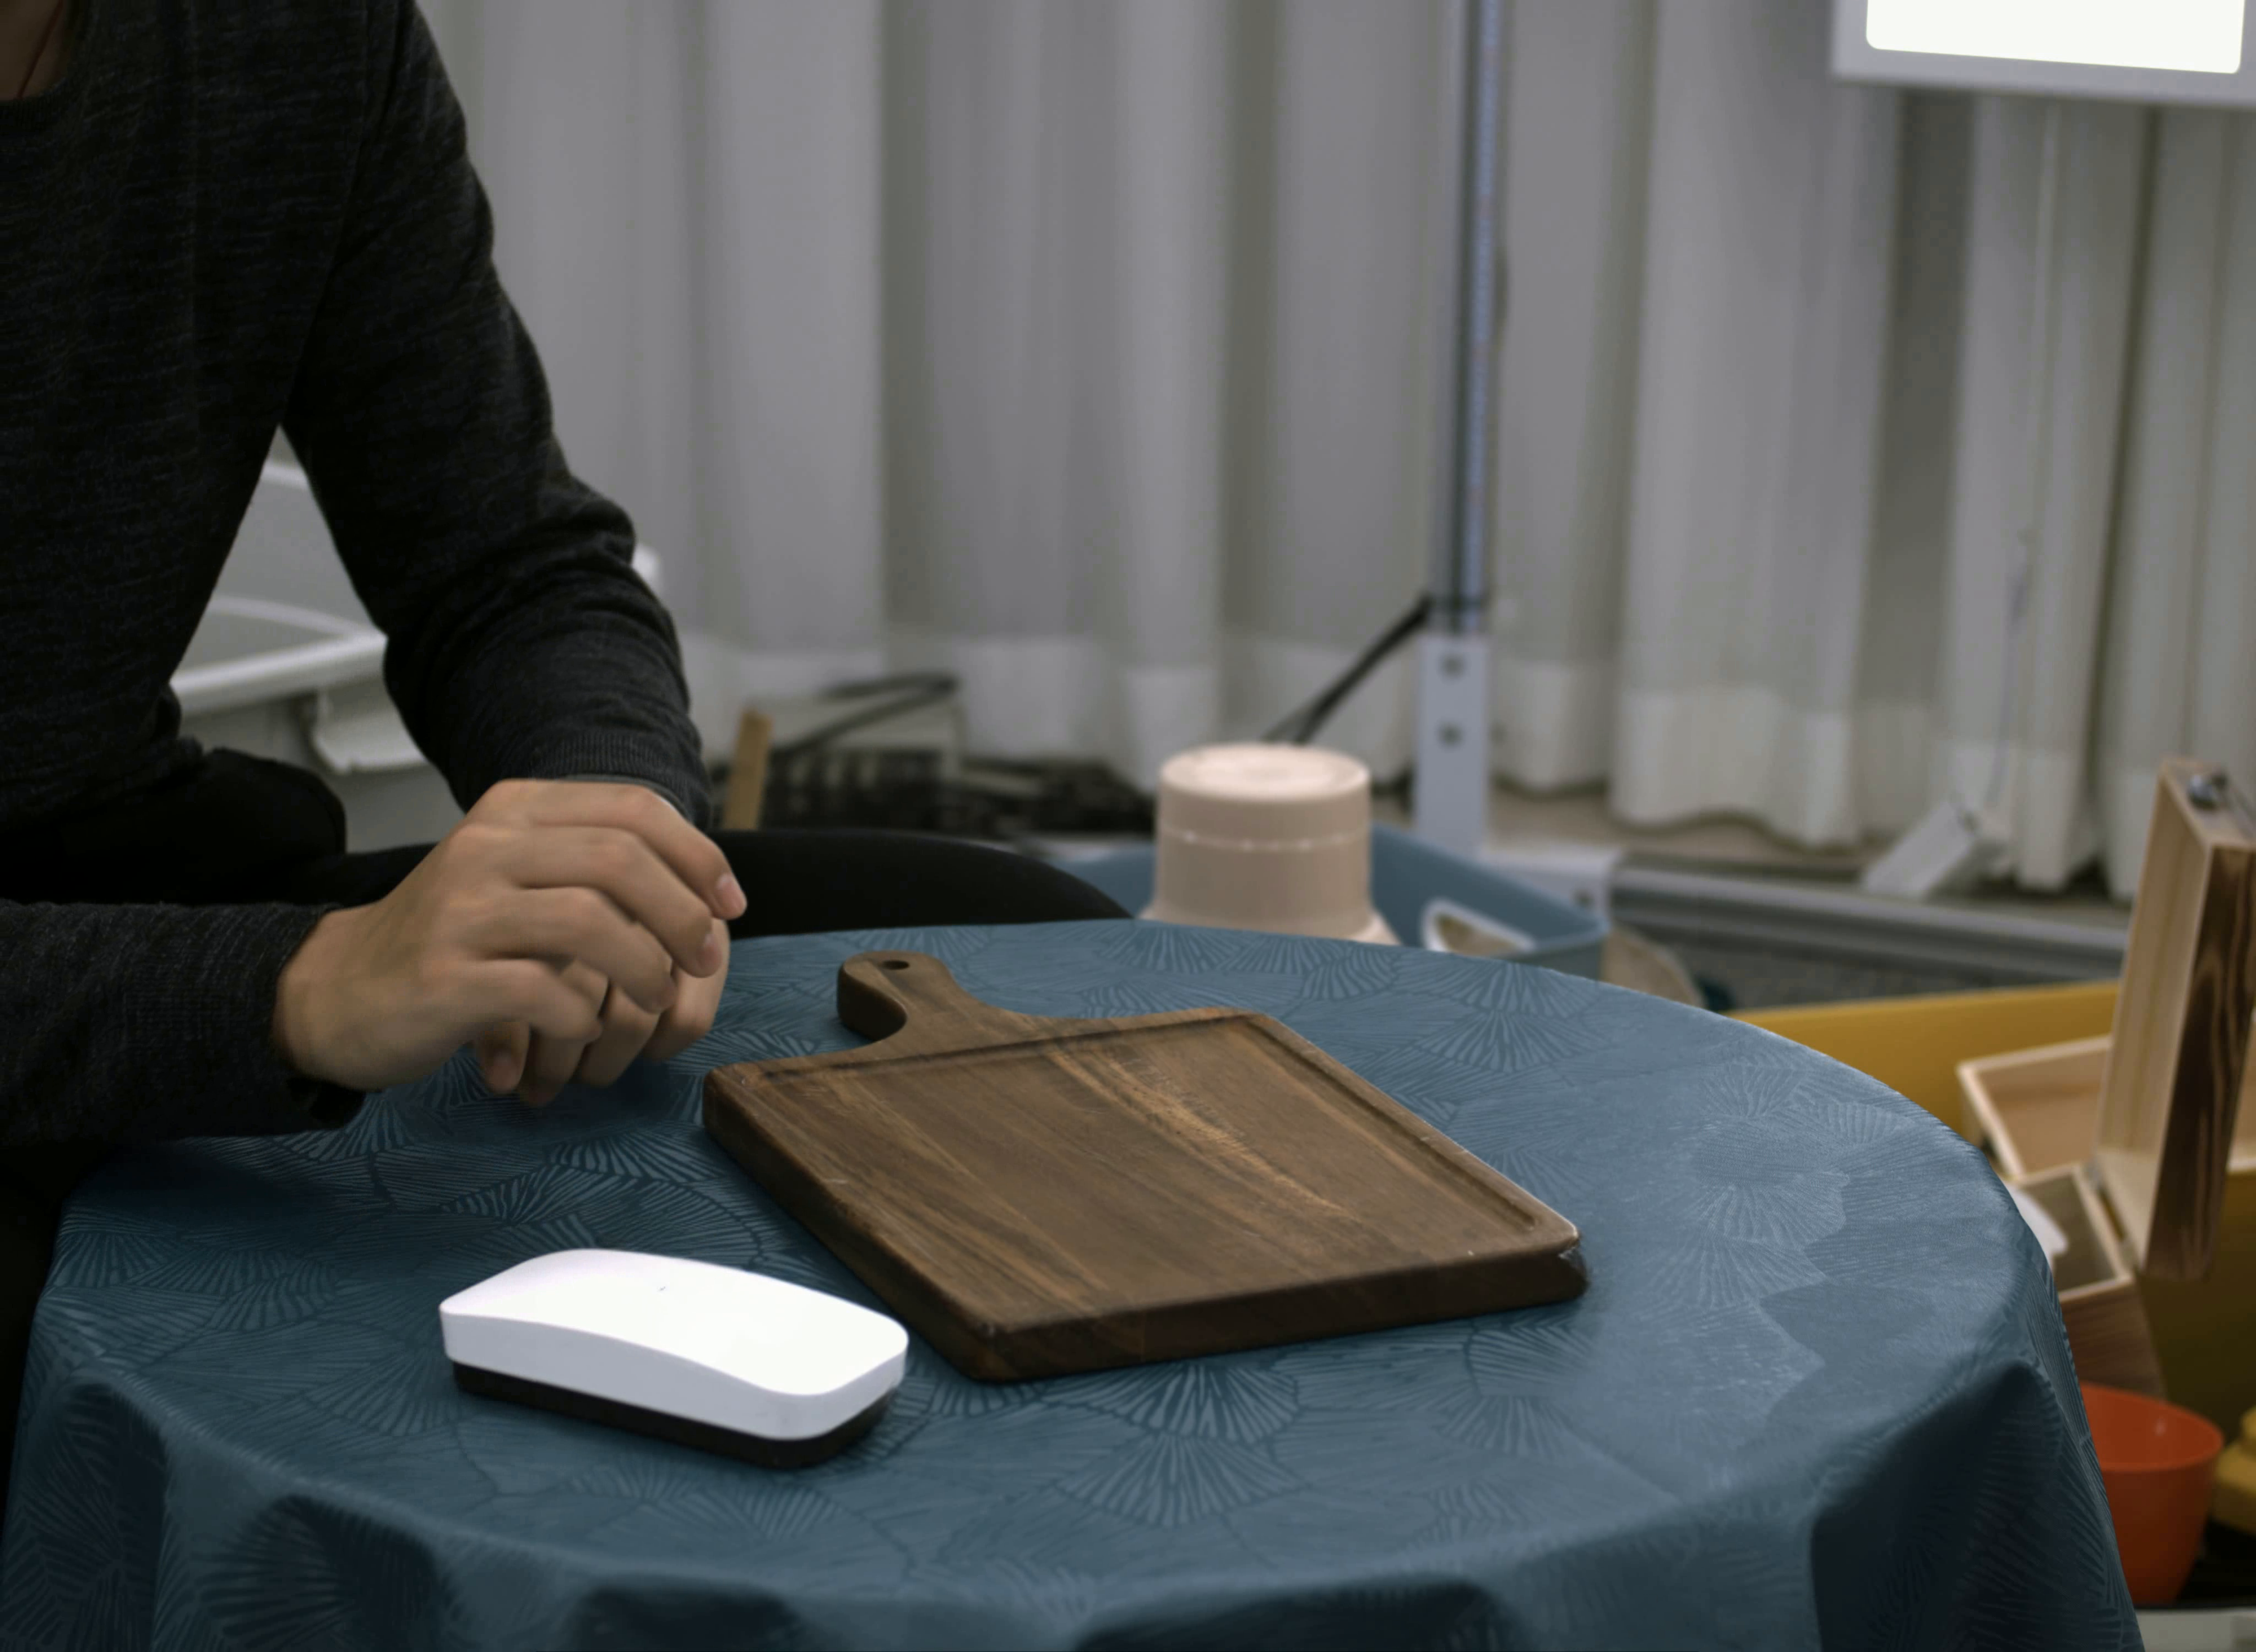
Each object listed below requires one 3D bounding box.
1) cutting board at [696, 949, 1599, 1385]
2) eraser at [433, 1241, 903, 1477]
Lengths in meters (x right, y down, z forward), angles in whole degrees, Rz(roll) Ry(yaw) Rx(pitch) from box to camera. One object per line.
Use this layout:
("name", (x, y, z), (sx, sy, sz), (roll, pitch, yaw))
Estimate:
("cutting board", (-0.019, 0.095, 1.644), (0.202, 0.023, 0.348), (-6, 17, -23))
("eraser", (-0.126, 0.143, 1.447), (0.129, 0.035, 0.063), (11, 20, 30))
